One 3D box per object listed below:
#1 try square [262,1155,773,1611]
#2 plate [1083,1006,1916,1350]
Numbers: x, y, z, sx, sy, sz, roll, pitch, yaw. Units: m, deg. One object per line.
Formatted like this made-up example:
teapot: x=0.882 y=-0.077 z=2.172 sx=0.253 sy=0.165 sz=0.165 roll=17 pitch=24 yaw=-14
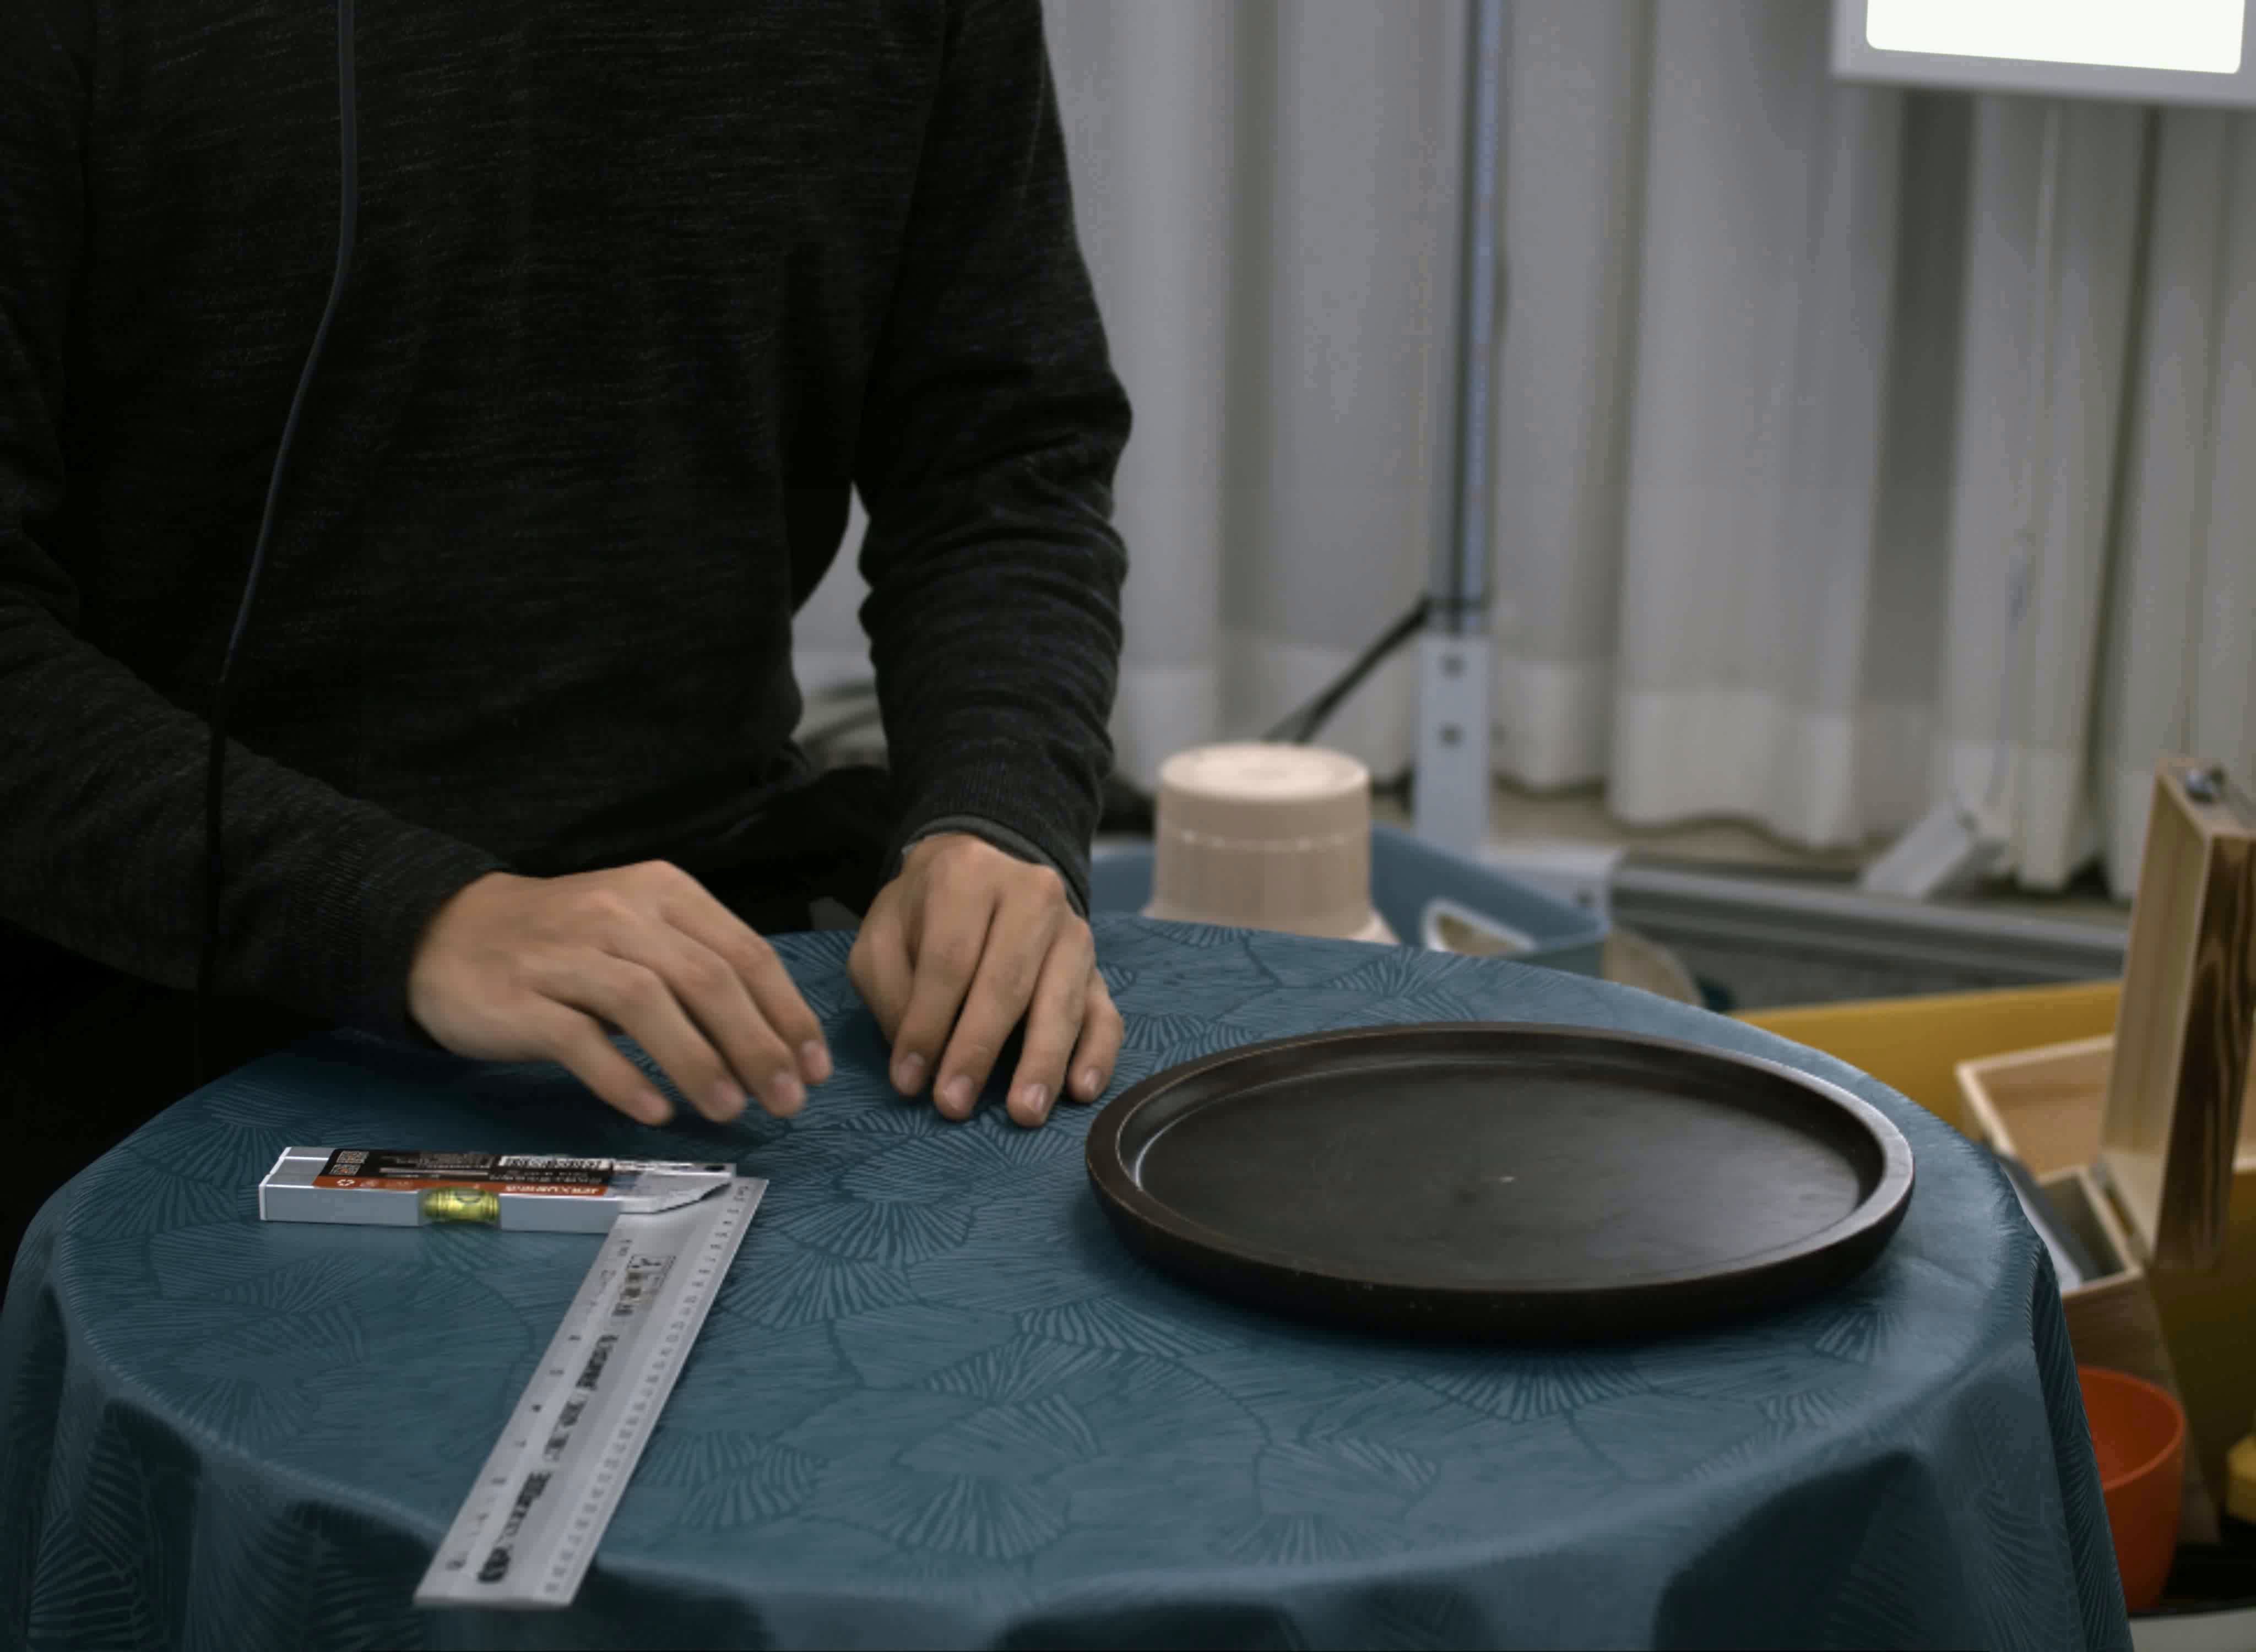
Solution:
try square: x=-0.198 y=0.150 z=1.467 sx=0.151 sy=0.016 sz=0.312 roll=1 pitch=16 yaw=6
plate: x=0.112 y=0.107 z=1.601 sx=0.254 sy=0.029 sz=0.253 roll=0 pitch=17 yaw=1
